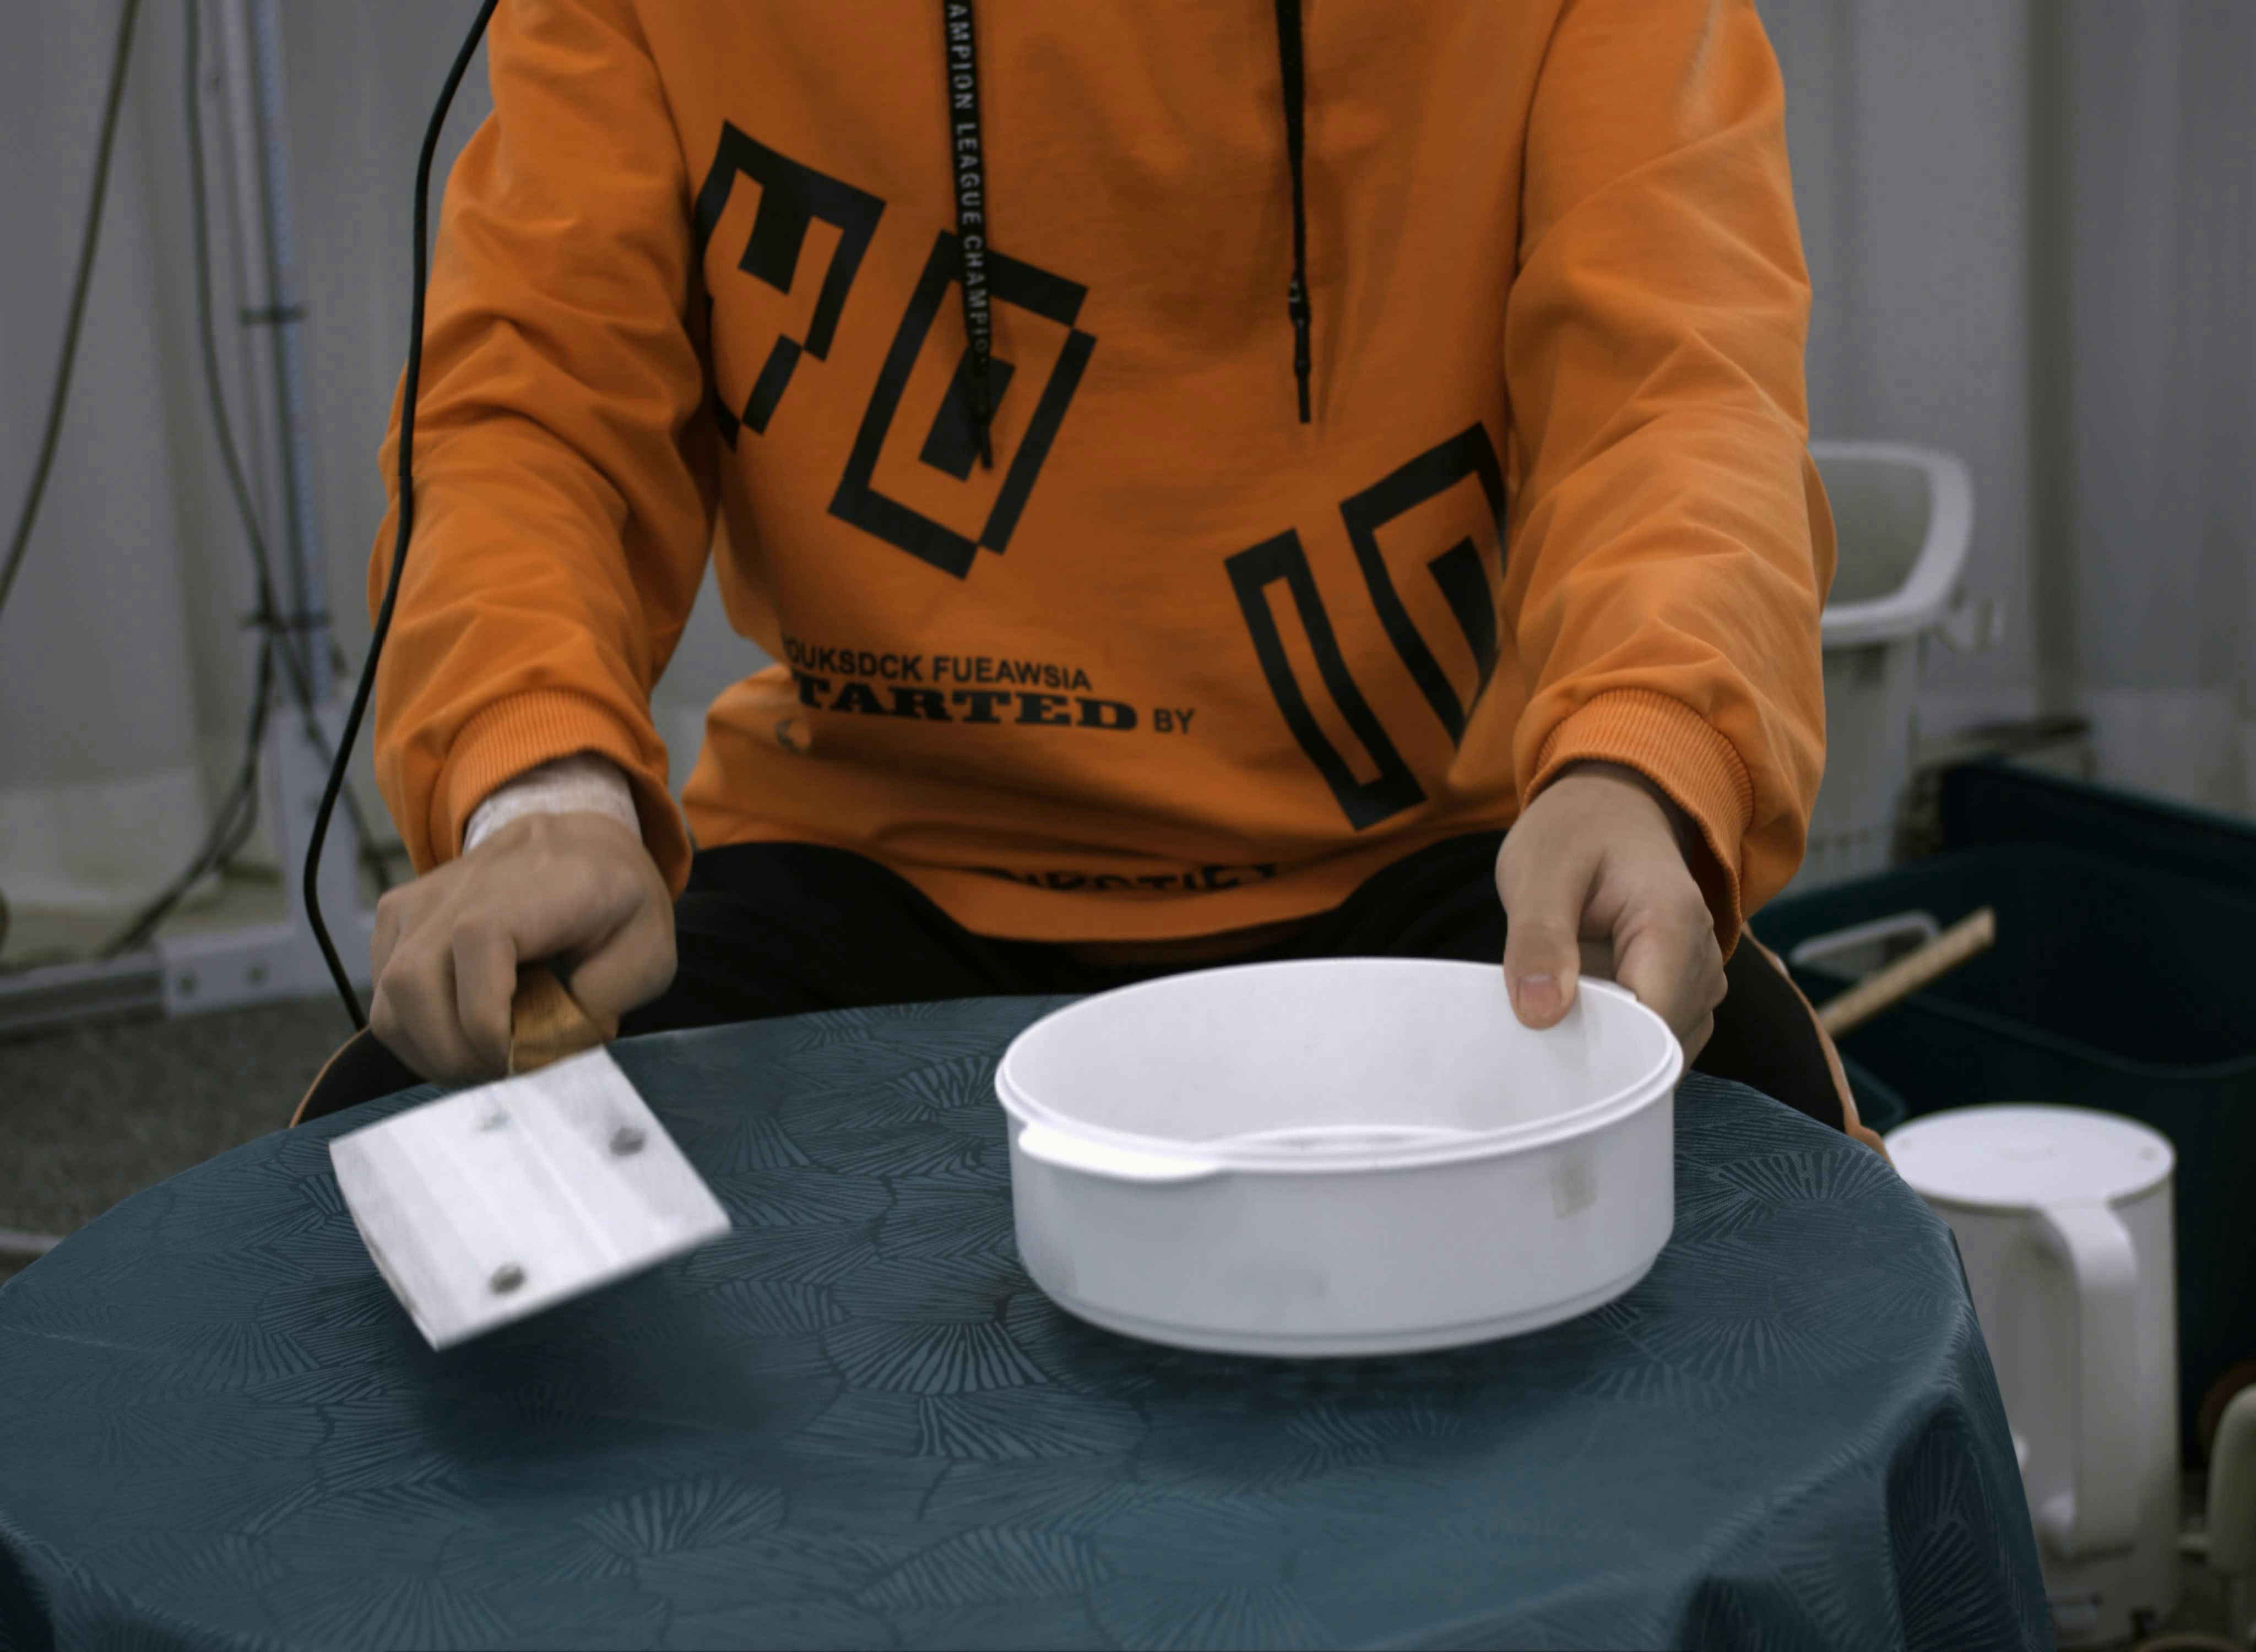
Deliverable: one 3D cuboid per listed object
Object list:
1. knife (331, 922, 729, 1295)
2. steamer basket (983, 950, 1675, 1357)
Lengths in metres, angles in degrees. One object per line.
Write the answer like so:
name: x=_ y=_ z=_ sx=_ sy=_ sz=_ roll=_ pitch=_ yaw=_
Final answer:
knife: x=-0.192 y=0.086 z=1.649 sx=0.093 sy=0.021 sz=0.308 roll=-22 pitch=18 yaw=-11
steamer basket: x=0.060 y=0.095 z=1.593 sx=0.203 sy=0.069 sz=0.230 roll=9 pitch=19 yaw=40
